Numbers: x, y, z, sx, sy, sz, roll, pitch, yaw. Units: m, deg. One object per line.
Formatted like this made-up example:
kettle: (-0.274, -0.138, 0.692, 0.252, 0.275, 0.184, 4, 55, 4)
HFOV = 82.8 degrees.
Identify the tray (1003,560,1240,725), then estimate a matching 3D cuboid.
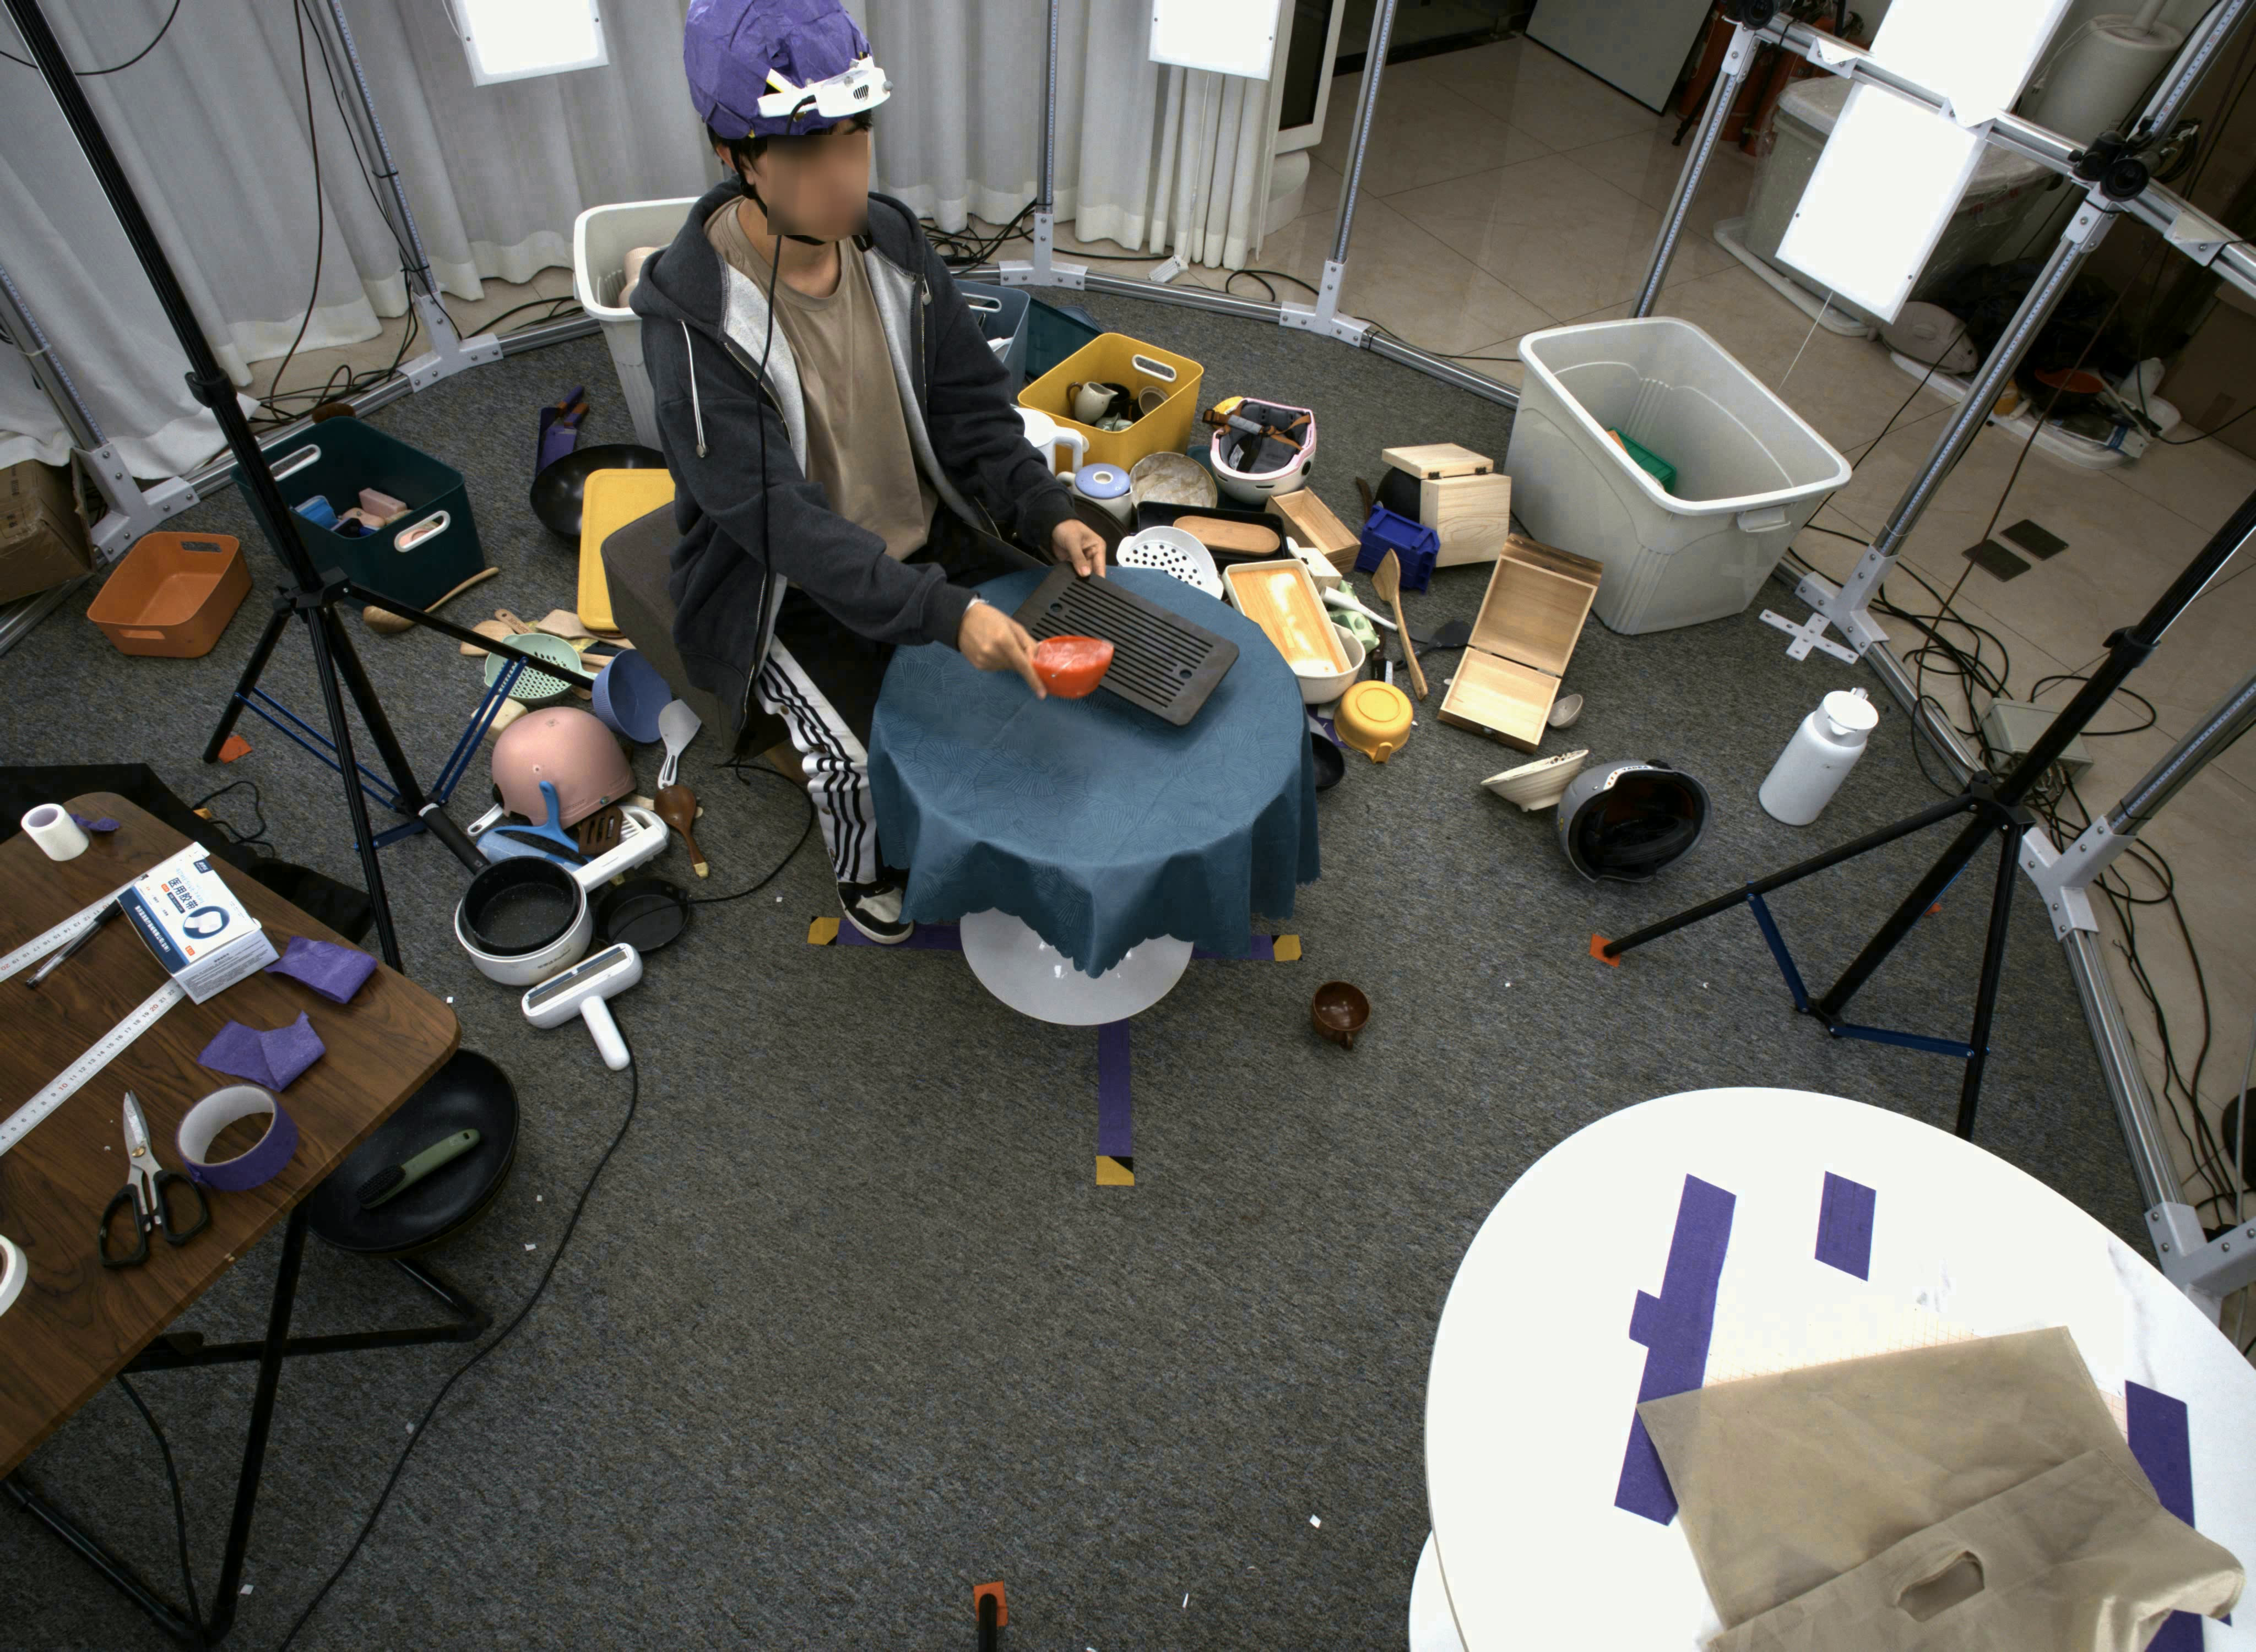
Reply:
tray: (-0.009, -0.264, 1.832, 0.308, 0.018, 0.172, 28, 60, 15)

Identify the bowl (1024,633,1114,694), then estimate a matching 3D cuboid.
bowl: (-0.075, -0.211, 1.684, 0.119, 0.050, 0.121, -2, 28, 1)
